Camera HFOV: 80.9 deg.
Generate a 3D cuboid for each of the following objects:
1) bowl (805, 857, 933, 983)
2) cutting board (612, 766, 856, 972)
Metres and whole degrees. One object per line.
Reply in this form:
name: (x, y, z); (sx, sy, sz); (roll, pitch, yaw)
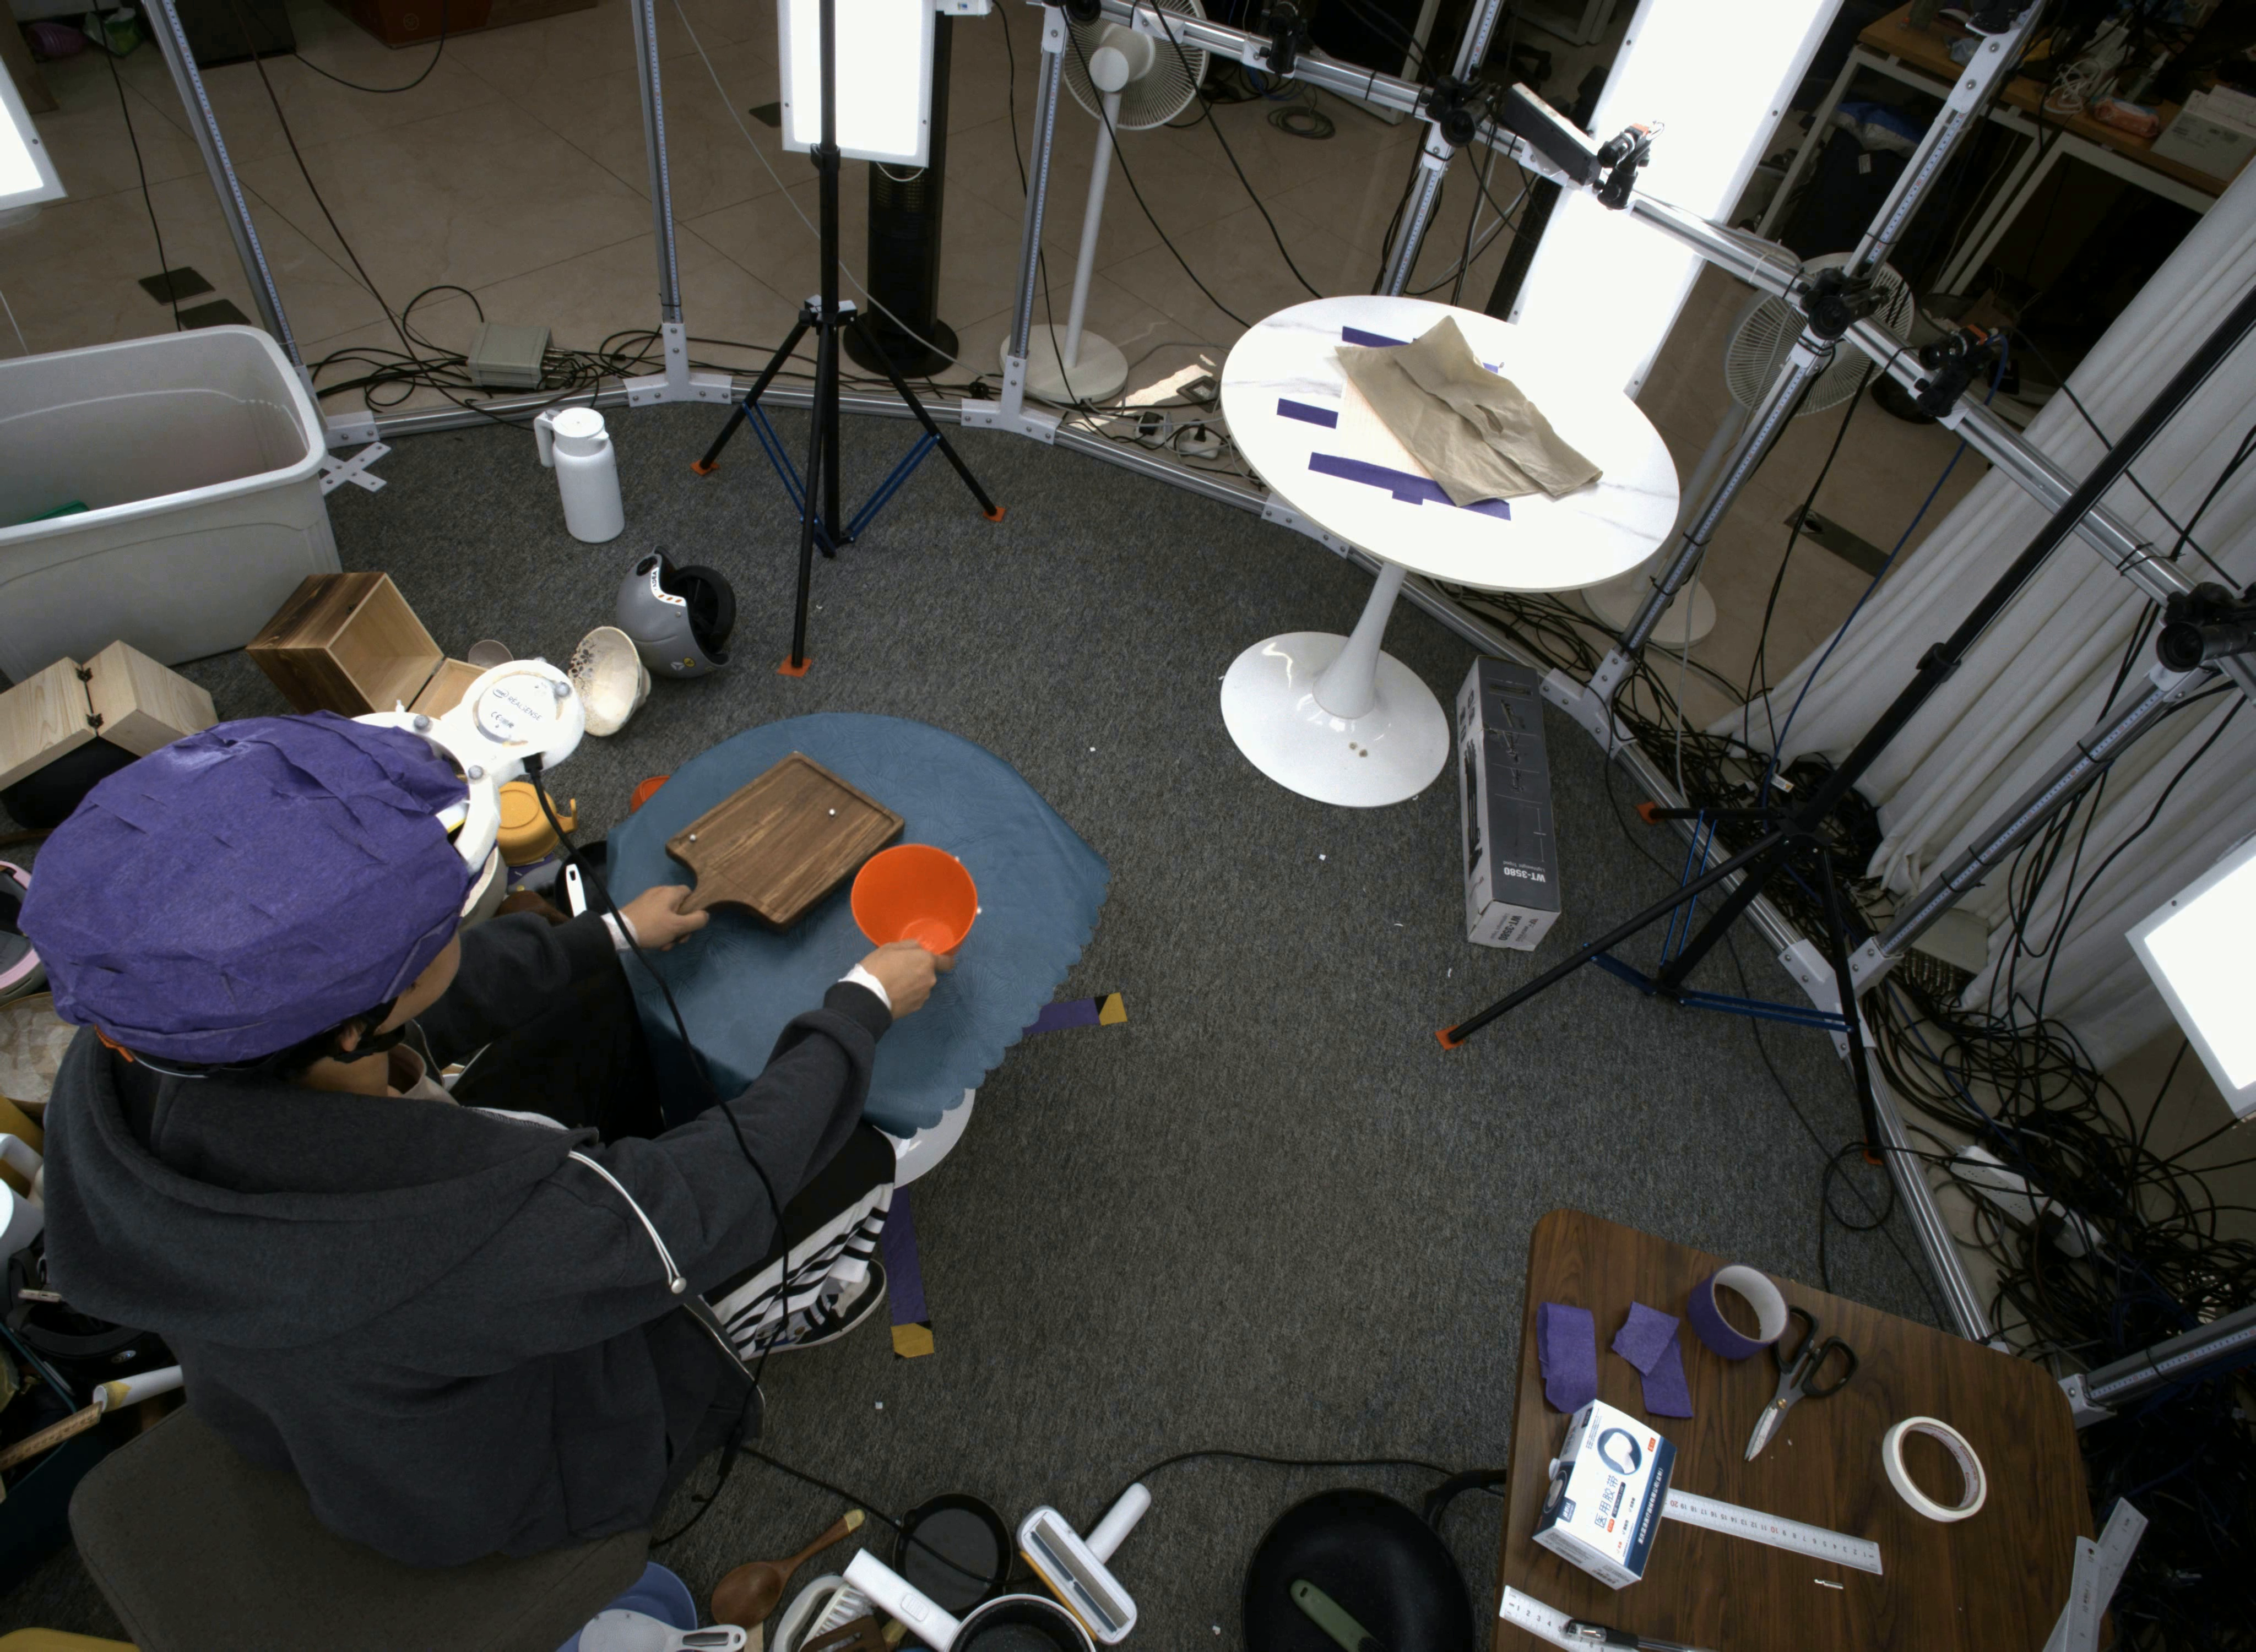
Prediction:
bowl: (-0.305, 0.125, 1.556); (0.147, 0.107, 0.145); (4, 55, -4)
cutting board: (-0.520, 0.061, 1.615); (0.198, 0.023, 0.351); (30, 44, 9)
